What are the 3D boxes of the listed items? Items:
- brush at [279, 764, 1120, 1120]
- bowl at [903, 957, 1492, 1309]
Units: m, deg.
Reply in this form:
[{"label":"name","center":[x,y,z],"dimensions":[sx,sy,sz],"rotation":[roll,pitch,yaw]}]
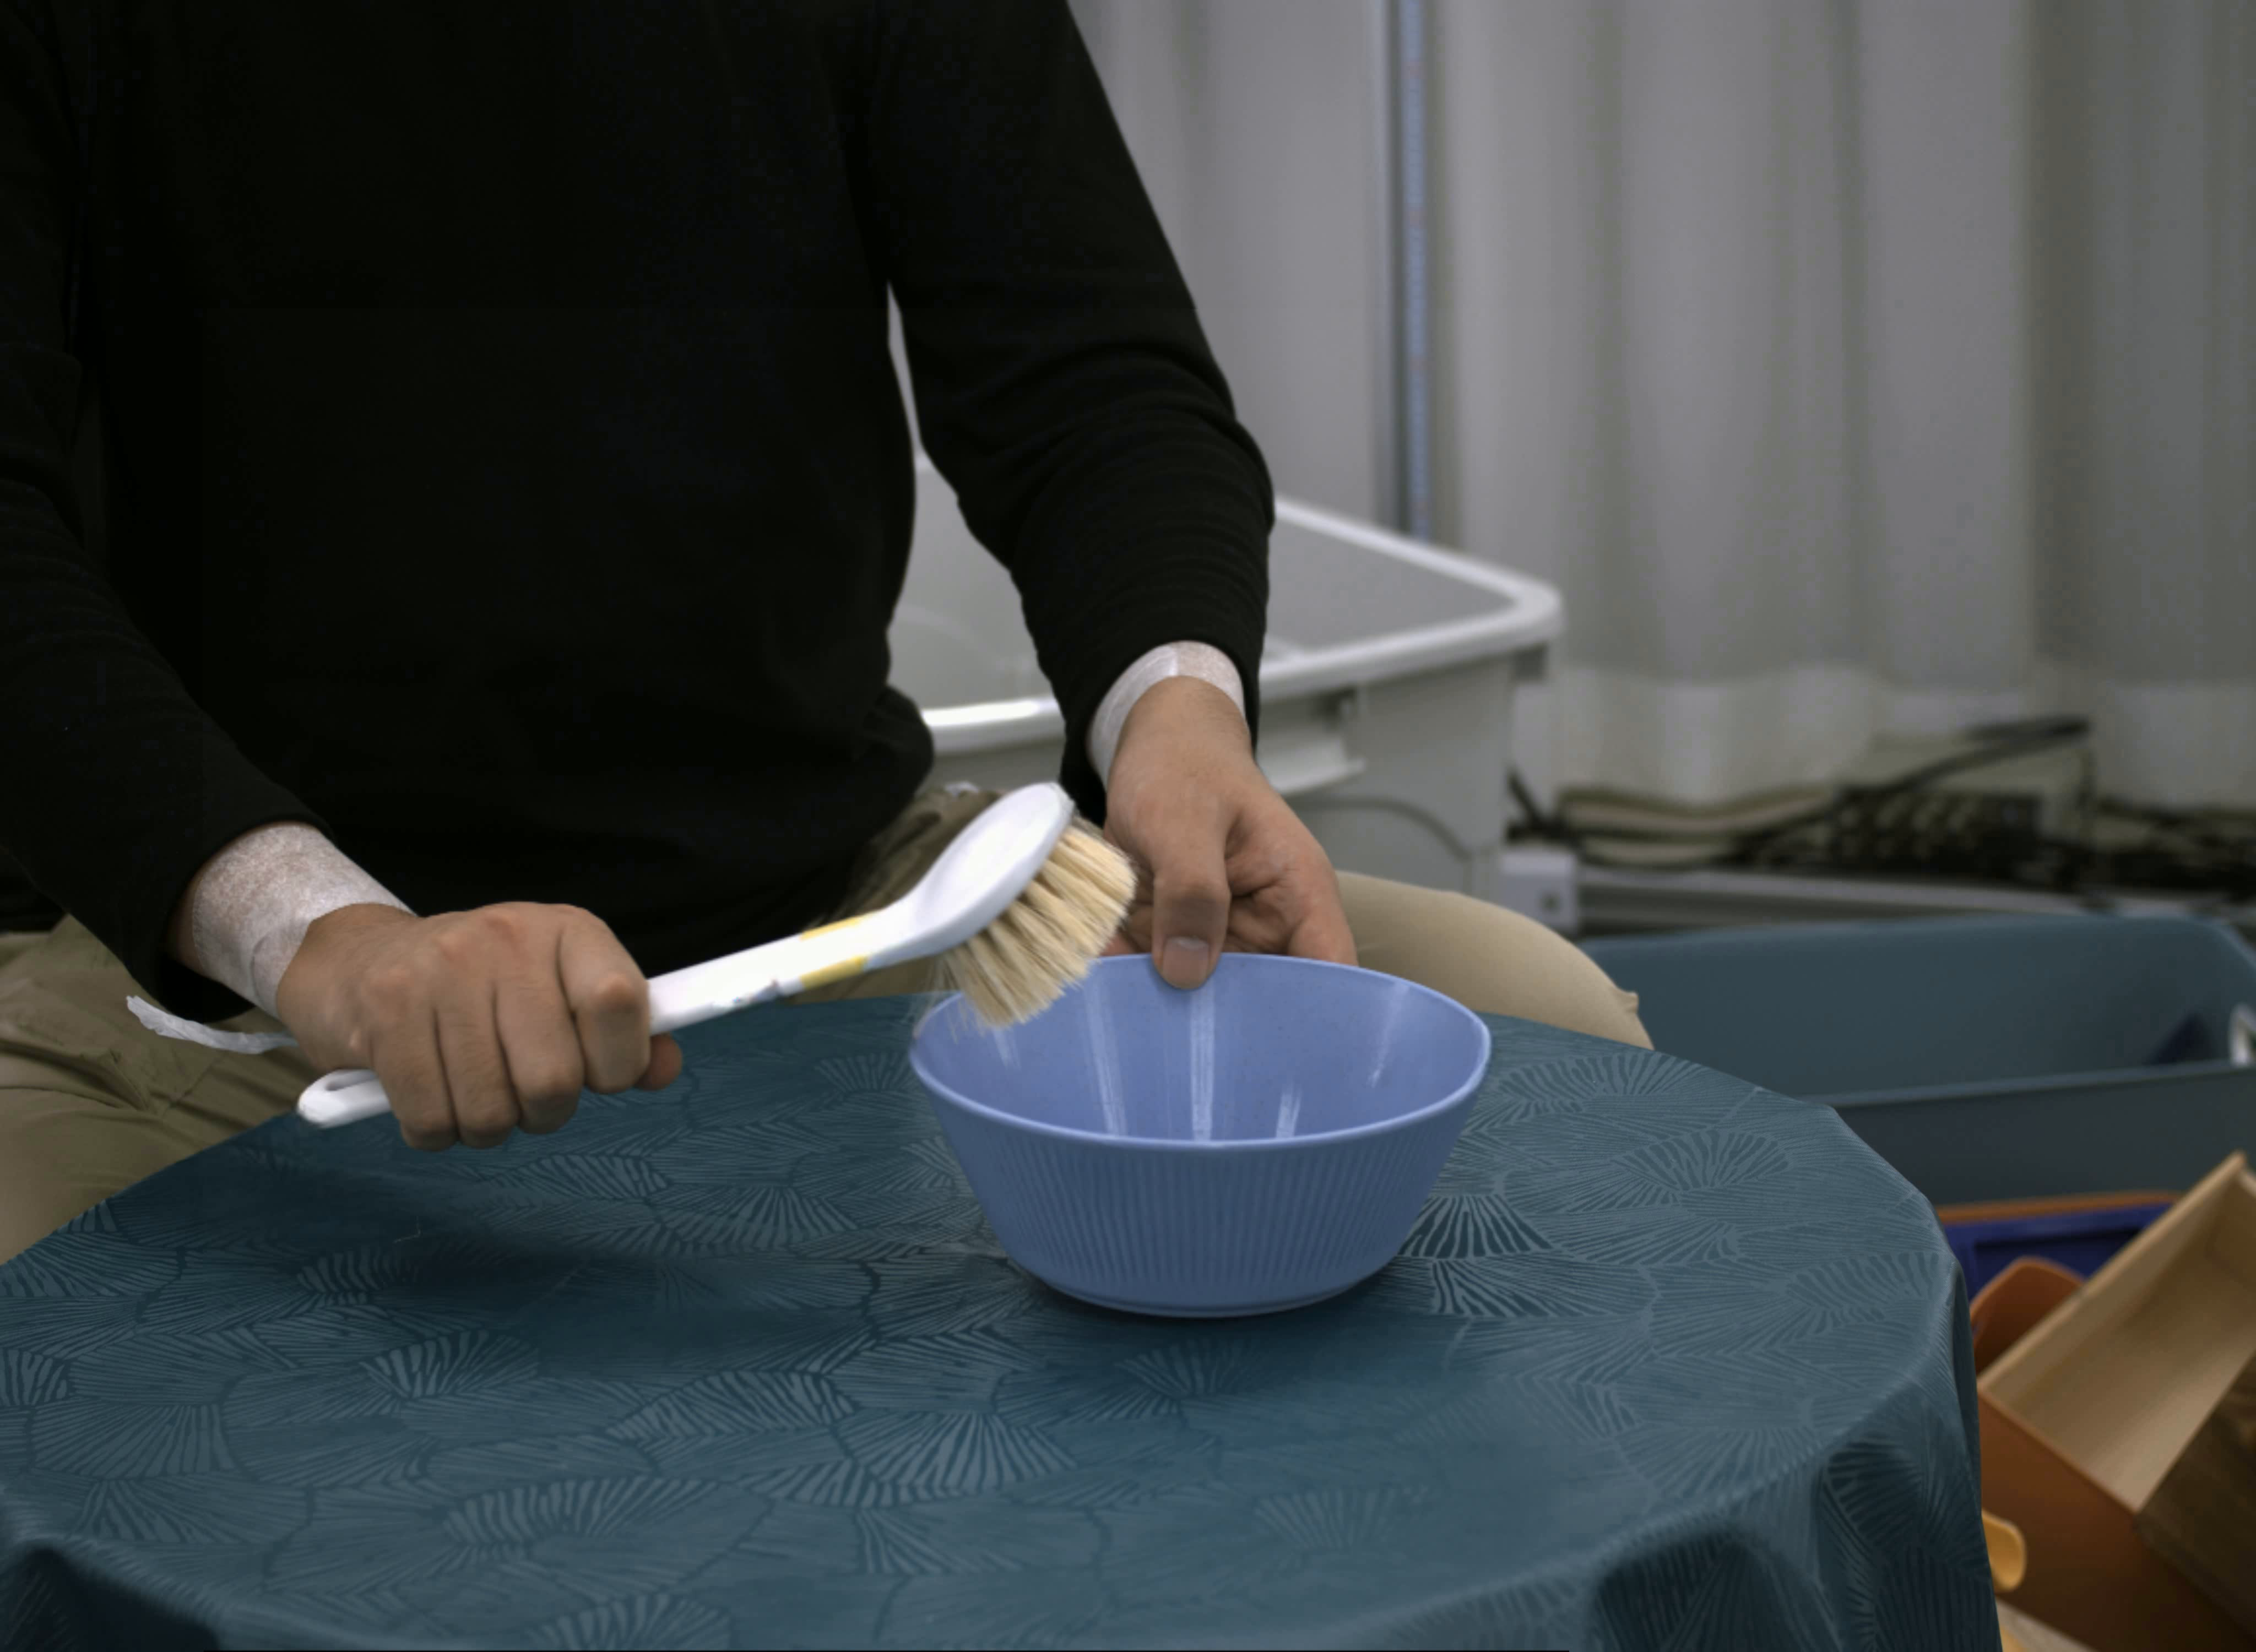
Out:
[{"label":"brush","center":[-0.125,0.055,1.637],"dimensions":[0.266,0.056,0.069],"rotation":[-22,18,11]},{"label":"bowl","center":[0.020,0.094,1.635],"dimensions":[0.175,0.070,0.177],"rotation":[1,15,-1]}]
